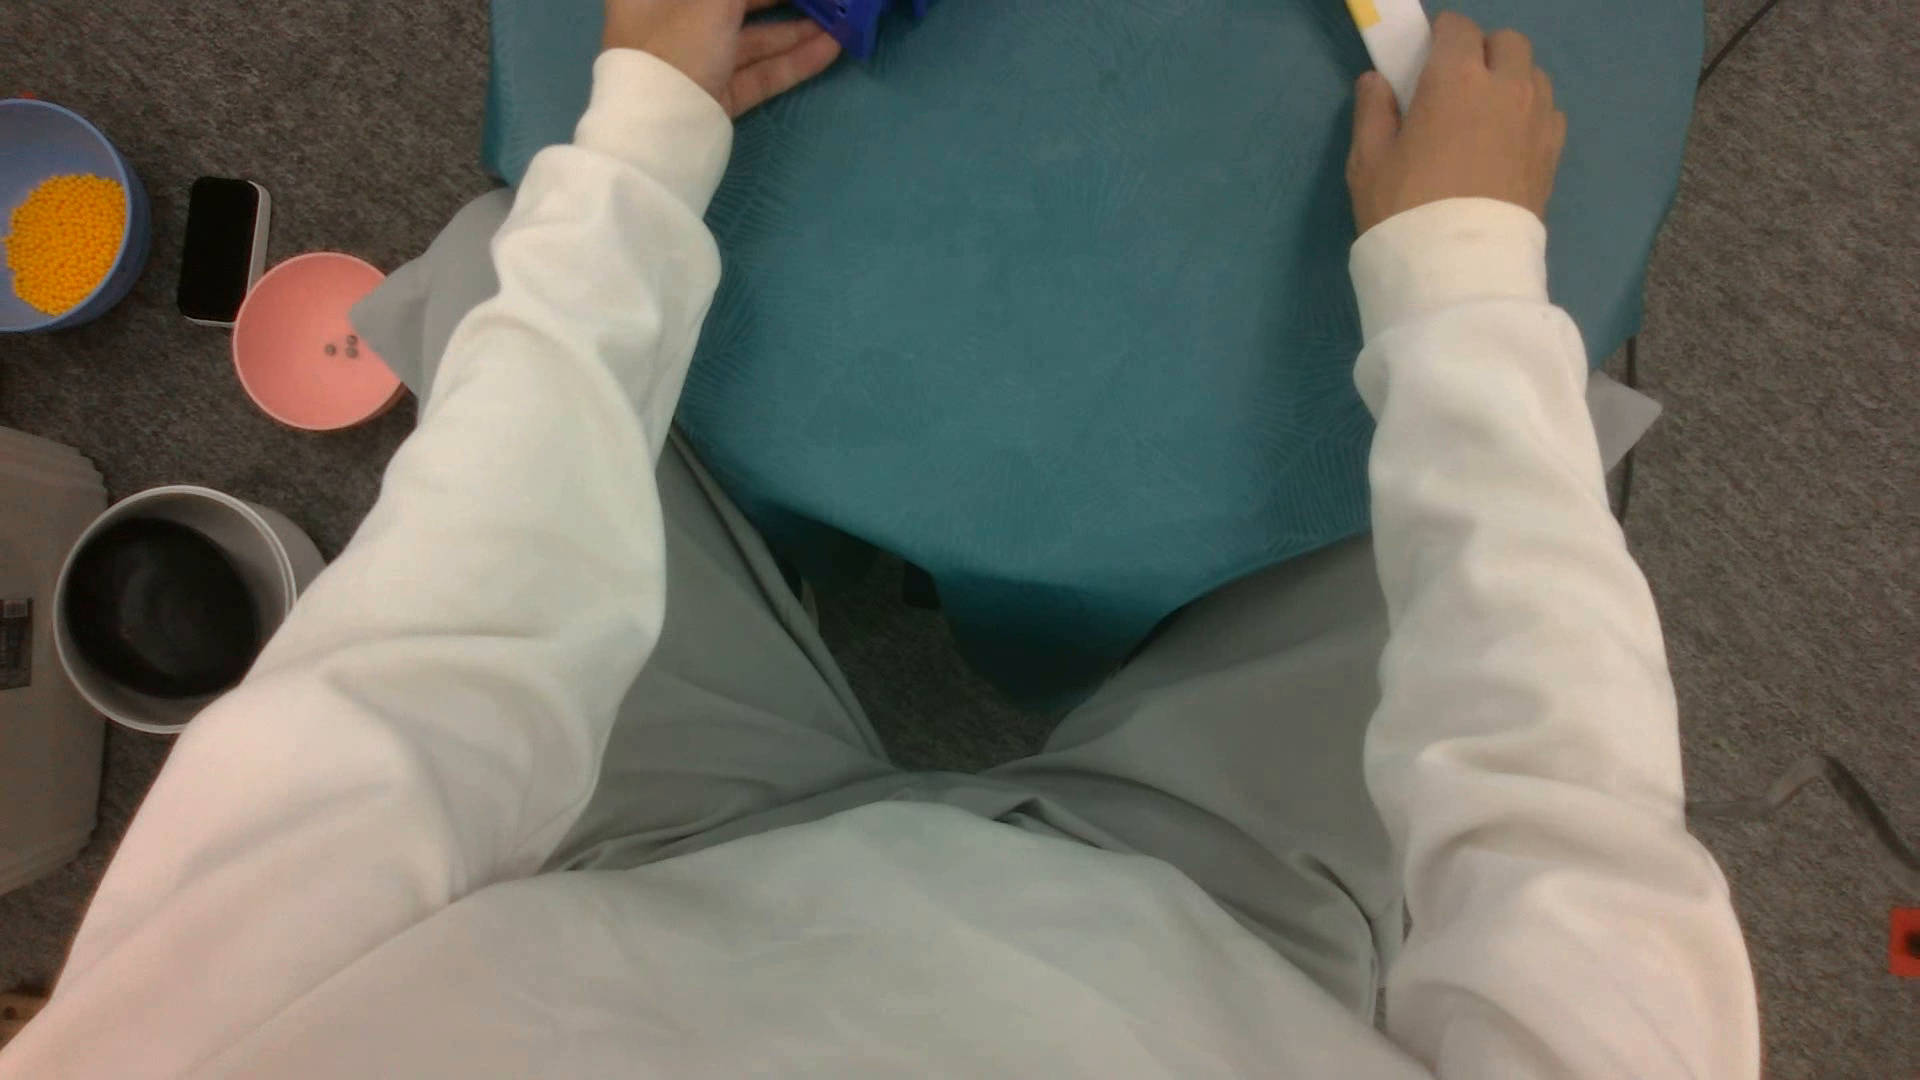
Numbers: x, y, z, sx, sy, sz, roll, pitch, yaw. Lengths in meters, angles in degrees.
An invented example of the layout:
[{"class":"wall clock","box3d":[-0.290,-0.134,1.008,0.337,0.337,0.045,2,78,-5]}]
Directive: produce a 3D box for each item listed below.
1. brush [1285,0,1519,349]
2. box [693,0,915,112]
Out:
[{"class":"brush","box3d":[0.207,-0.217,0.686,0.068,0.056,0.266,-27,101,18]},{"class":"box","box3d":[-0.050,-0.316,0.663,0.124,0.082,0.179,39,86,3]}]
